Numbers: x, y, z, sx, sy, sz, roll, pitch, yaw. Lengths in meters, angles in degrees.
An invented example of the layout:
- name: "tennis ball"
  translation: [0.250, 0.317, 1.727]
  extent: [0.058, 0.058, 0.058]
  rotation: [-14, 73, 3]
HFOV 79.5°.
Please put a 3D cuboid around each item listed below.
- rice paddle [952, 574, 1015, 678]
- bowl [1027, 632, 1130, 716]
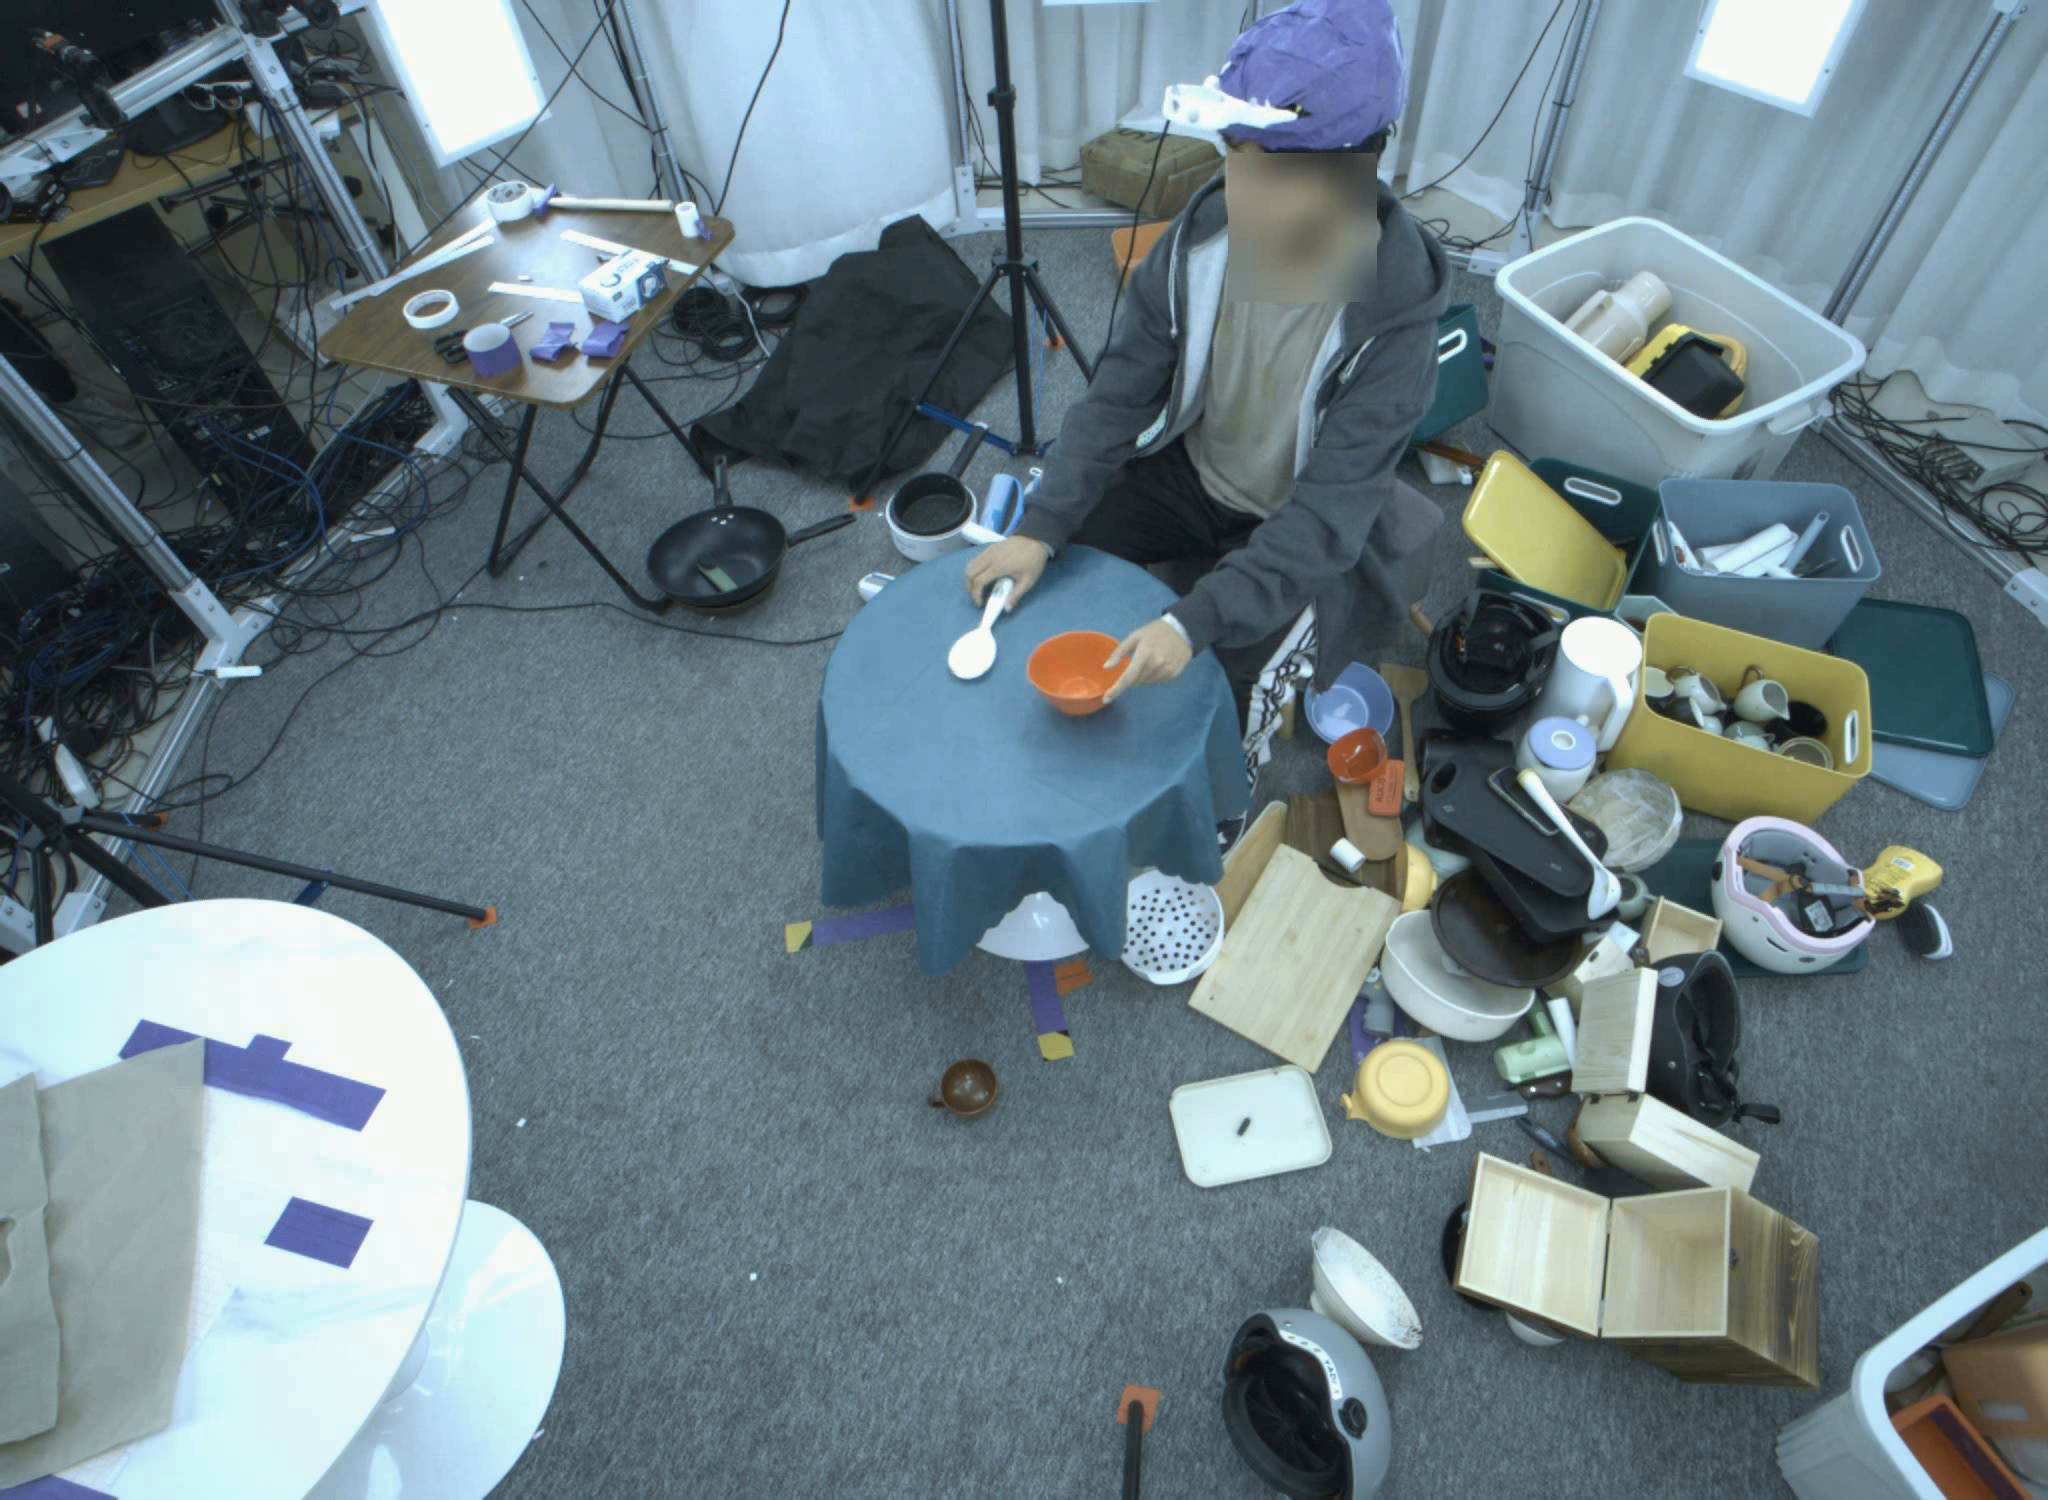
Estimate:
- name: "rice paddle"
  translation: [-0.058, -0.192, 1.910]
  extent: [0.068, 0.030, 0.204]
  rotation: [12, 56, 12]
- name: "bowl"
  translation: [0.081, -0.097, 1.794]
  extent: [0.148, 0.106, 0.146]
  rotation: [-2, 53, 3]
